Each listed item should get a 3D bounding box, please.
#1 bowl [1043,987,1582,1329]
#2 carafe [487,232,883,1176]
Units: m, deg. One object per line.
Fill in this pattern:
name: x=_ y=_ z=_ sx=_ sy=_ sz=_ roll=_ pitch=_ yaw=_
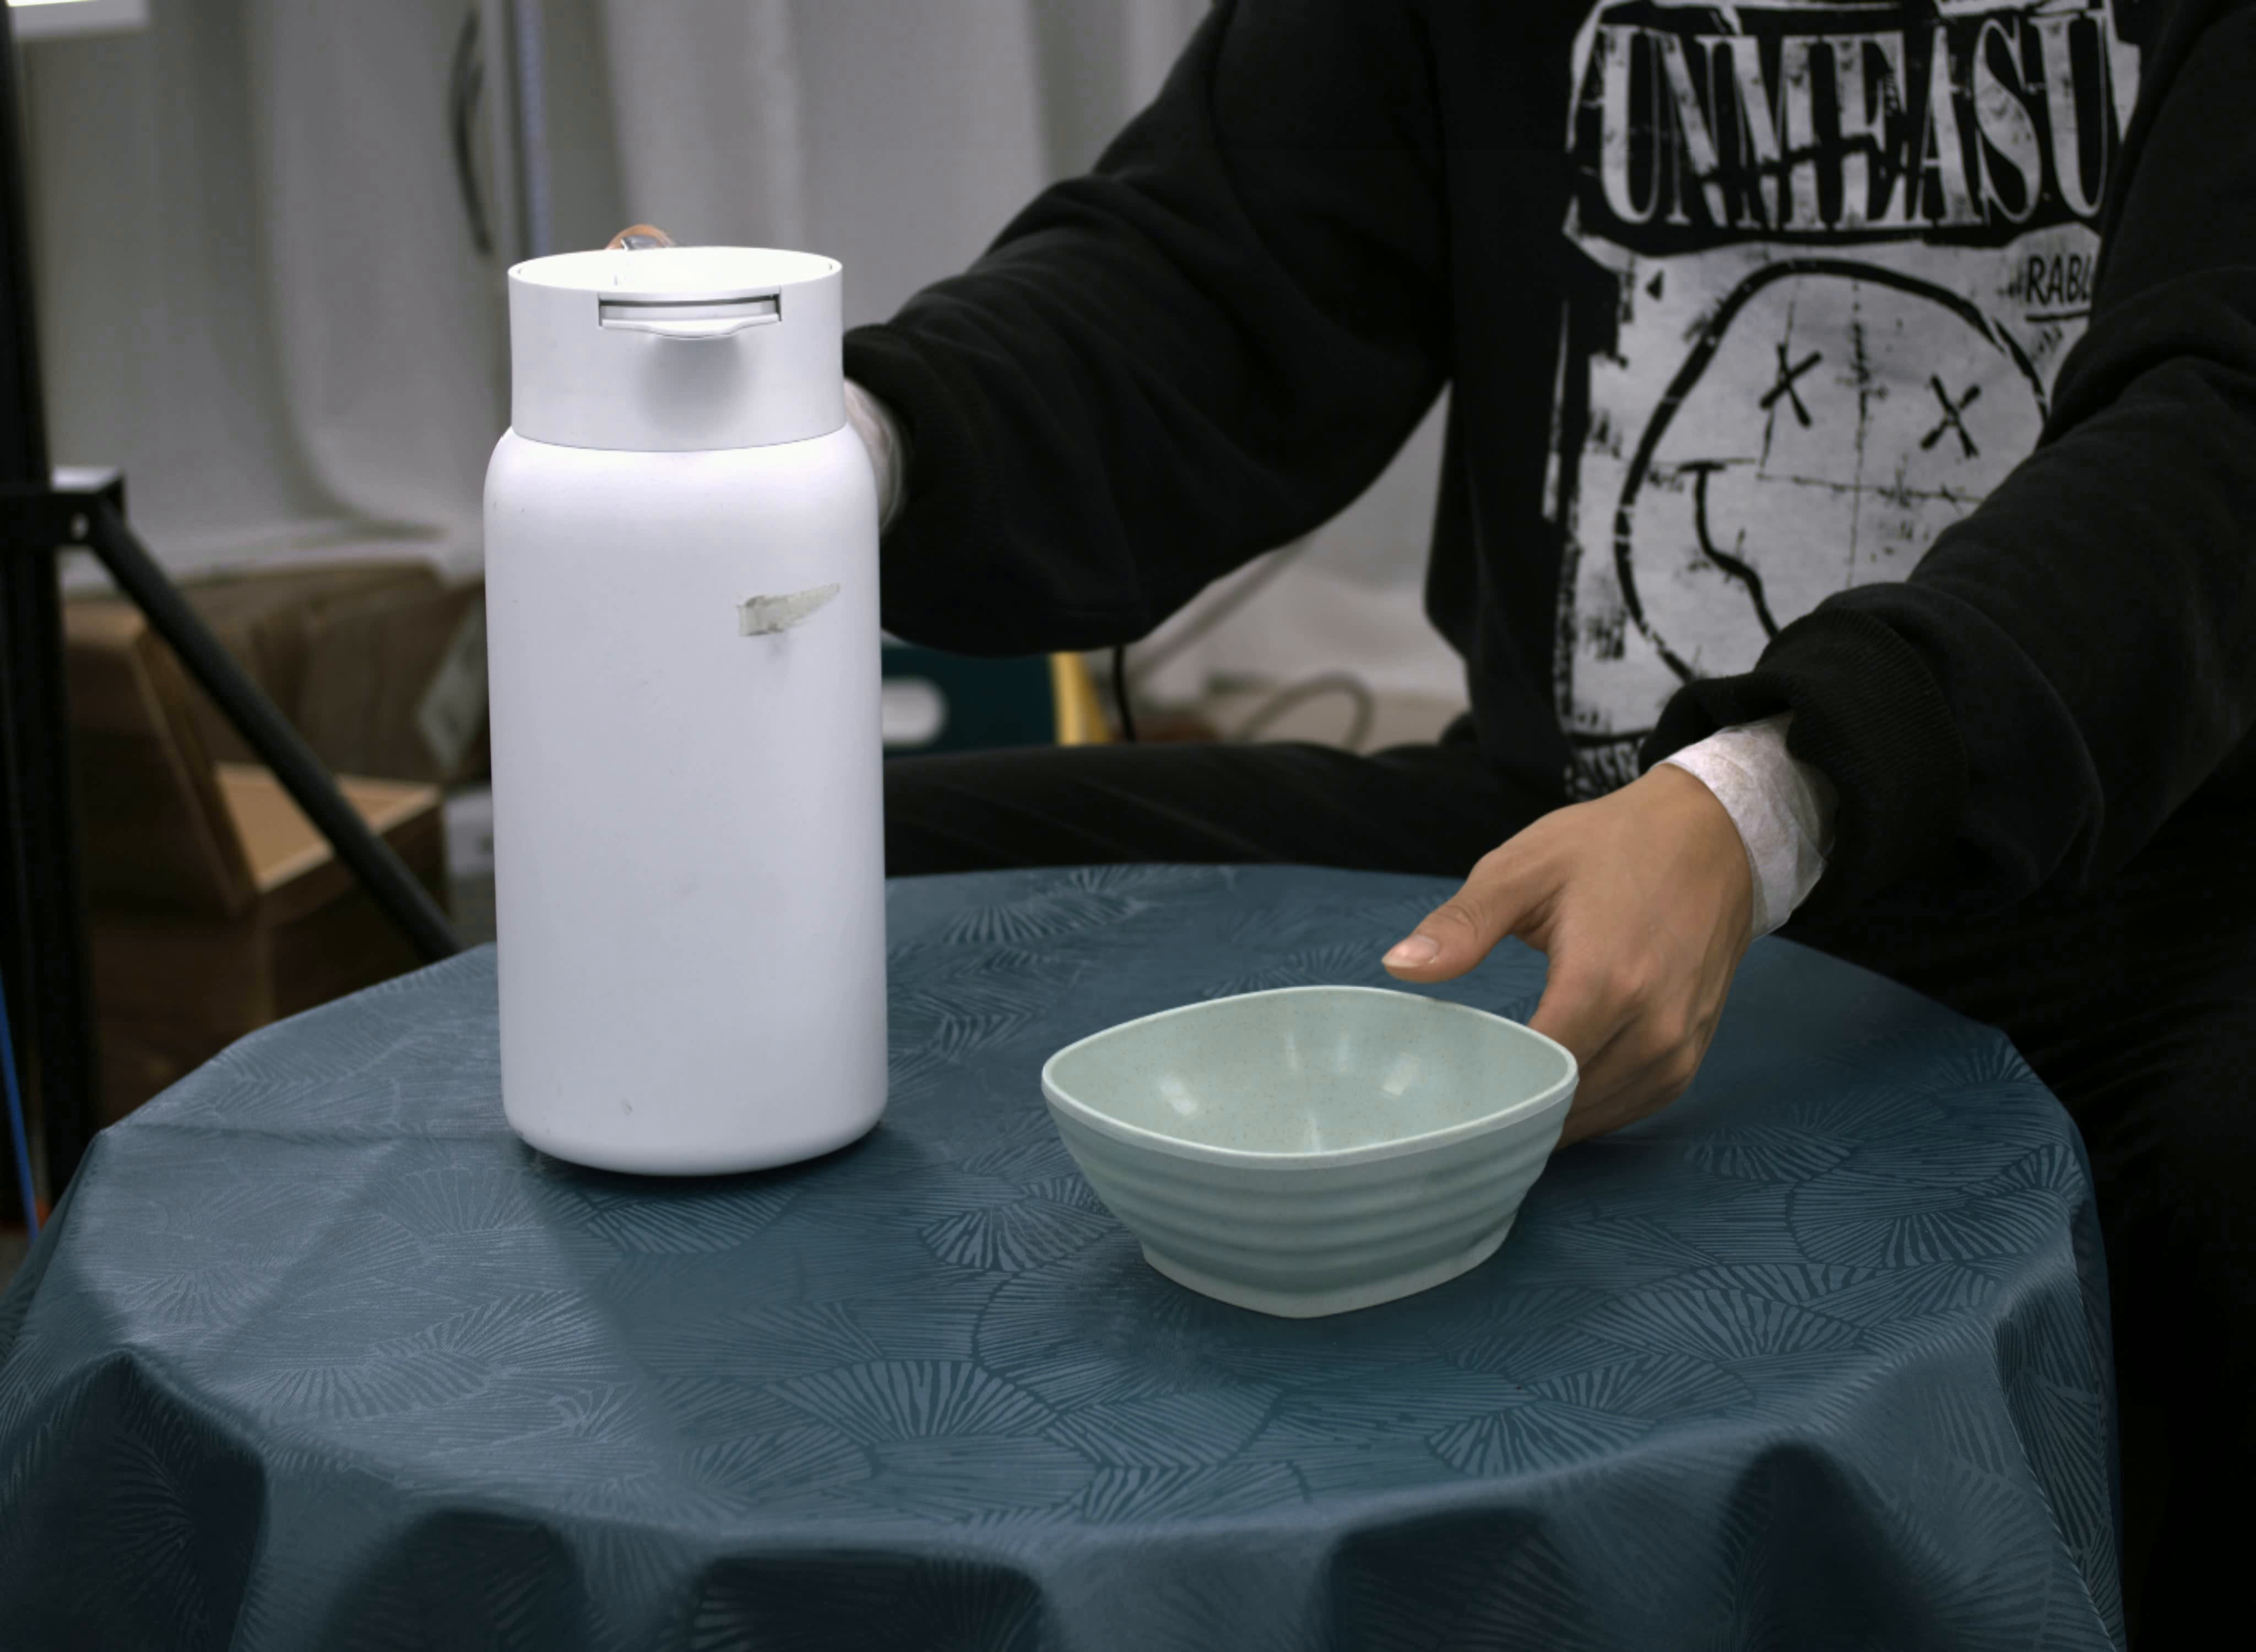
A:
bowl: x=0.052 y=0.096 z=1.488 sx=0.150 sy=0.058 sz=0.152 roll=-3 pitch=16 yaw=-1
carafe: x=-0.136 y=-0.041 z=1.611 sx=0.122 sy=0.269 sz=0.175 roll=-4 pitch=13 yaw=-10
